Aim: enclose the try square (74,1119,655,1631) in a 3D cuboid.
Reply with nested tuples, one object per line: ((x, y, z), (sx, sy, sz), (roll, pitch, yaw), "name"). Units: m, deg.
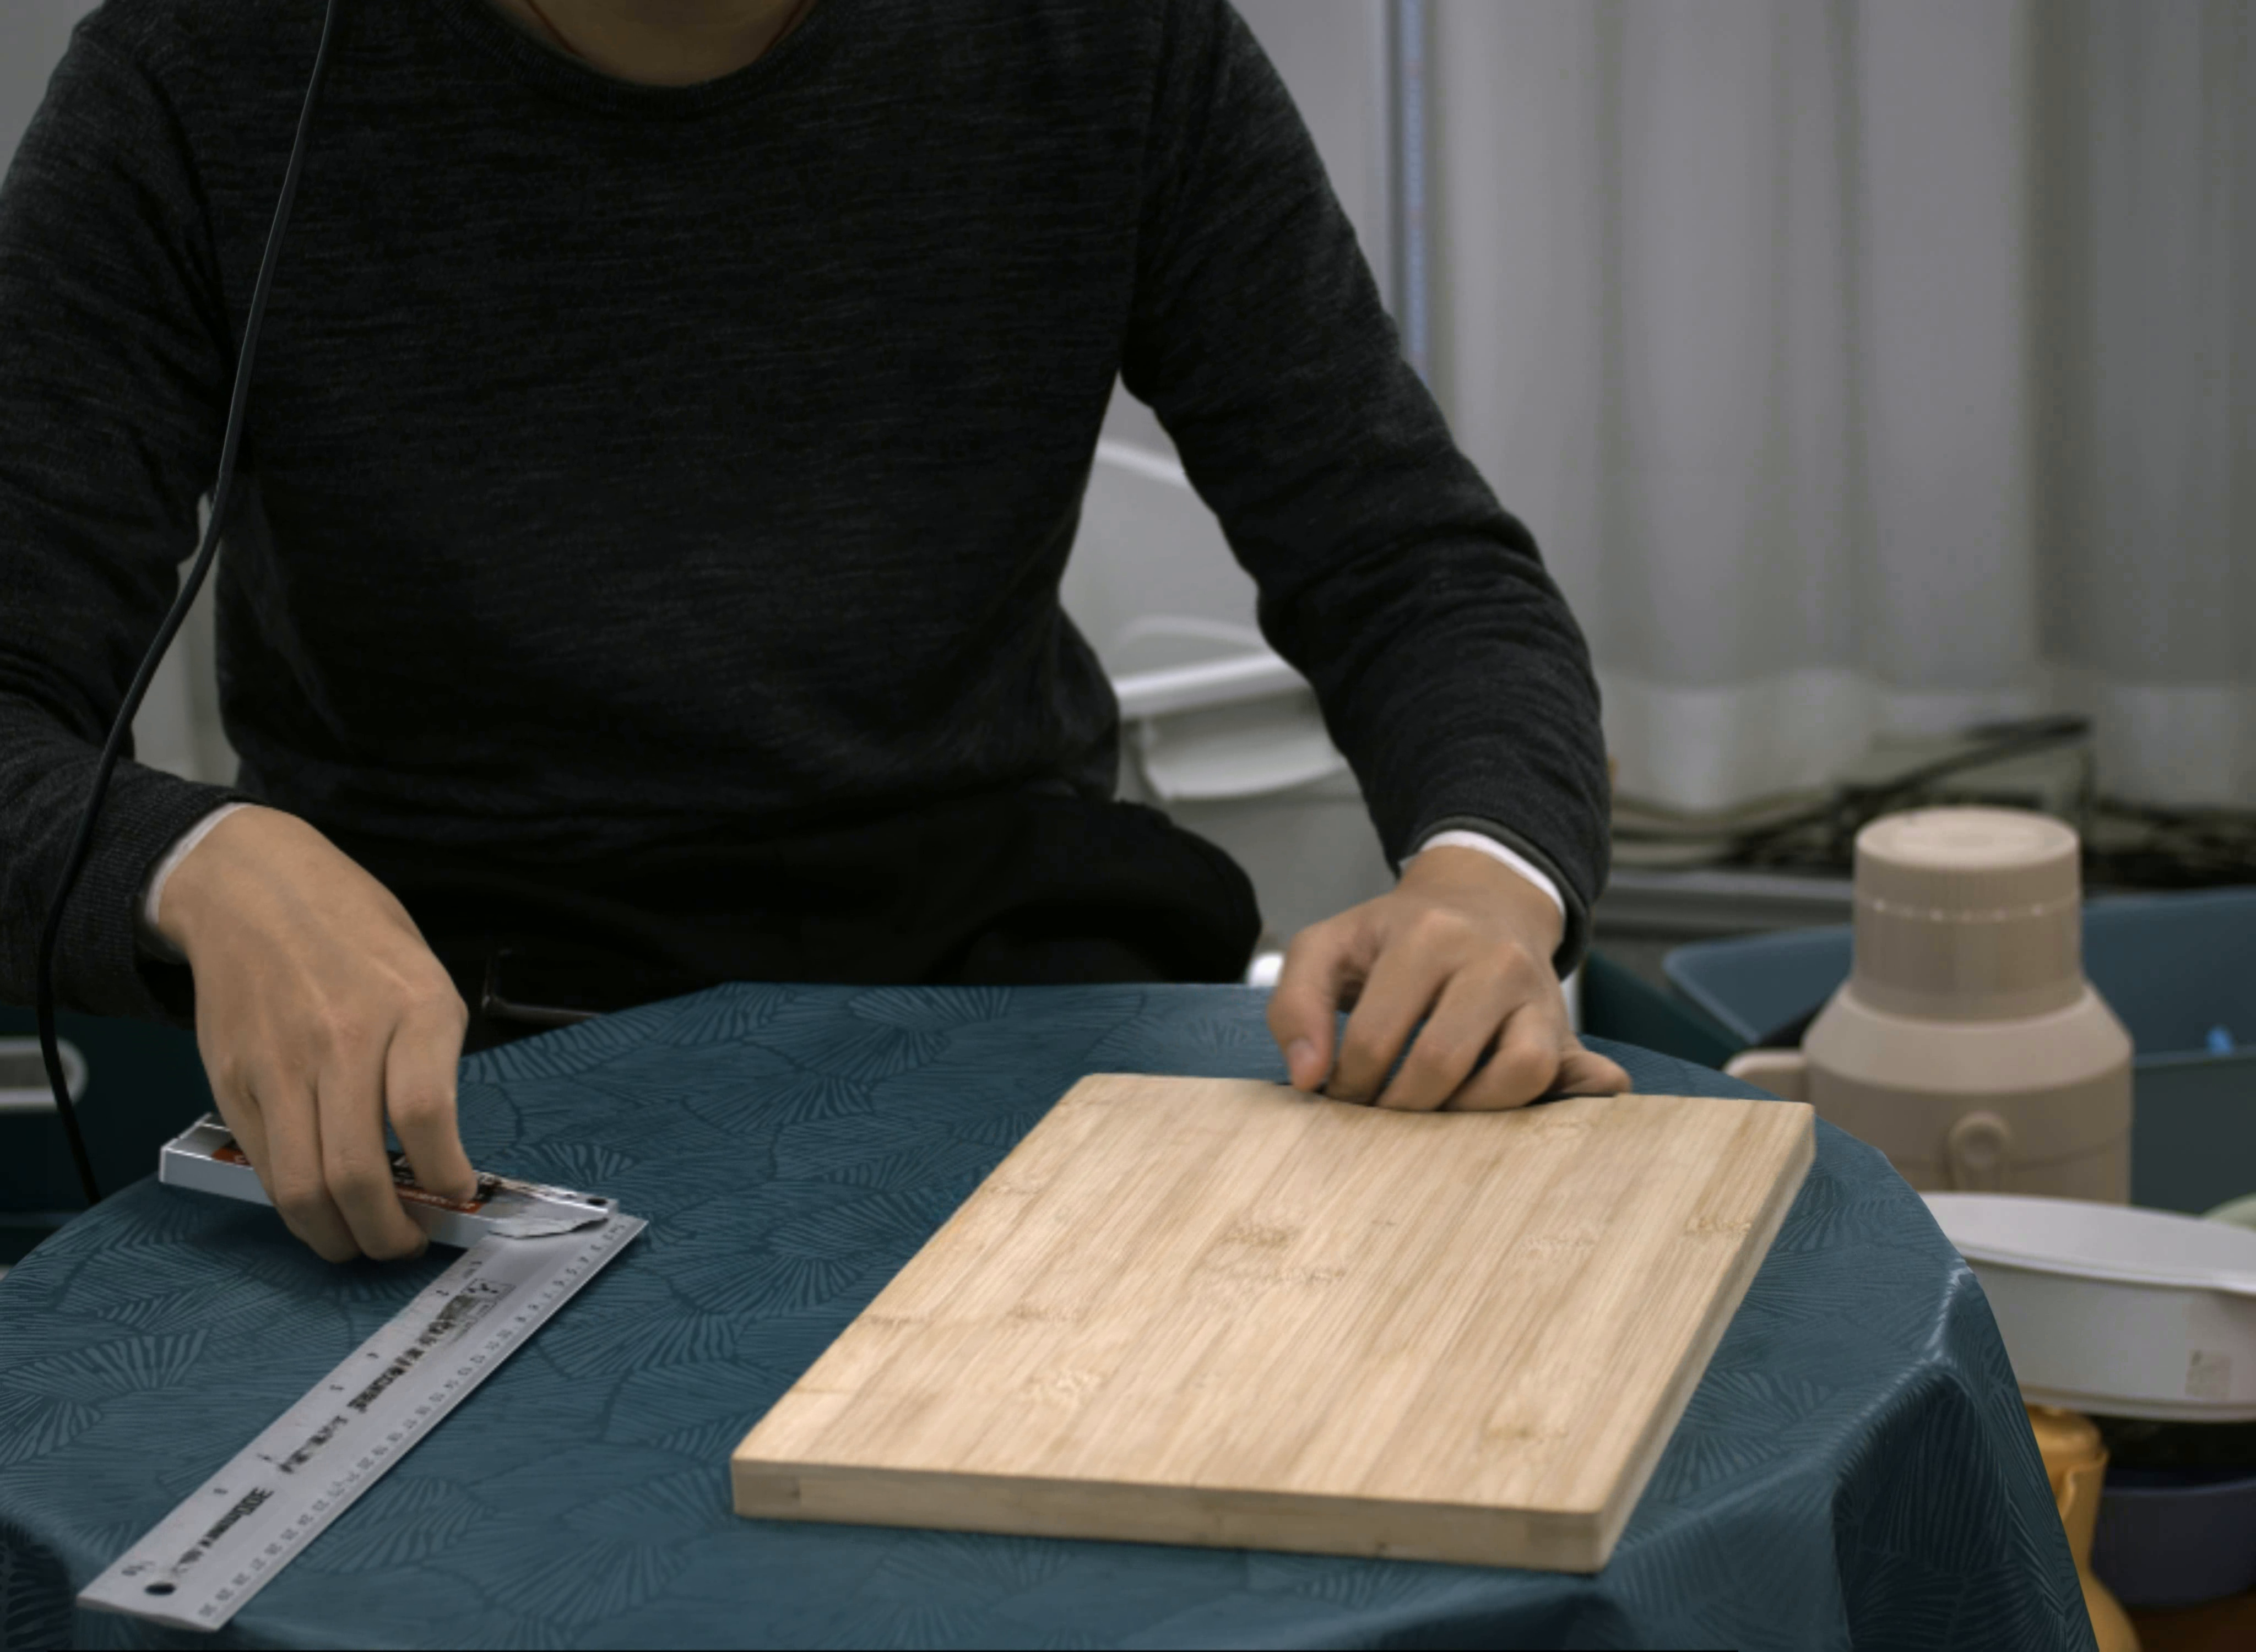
((-0.261, 0.152, 1.573), (0.152, 0.016, 0.314), (10, 18, 15), "try square")

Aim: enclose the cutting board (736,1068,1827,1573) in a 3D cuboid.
((0.056, 0.136, 1.593), (0.250, 0.023, 0.350), (1, 16, 15), "cutting board")
